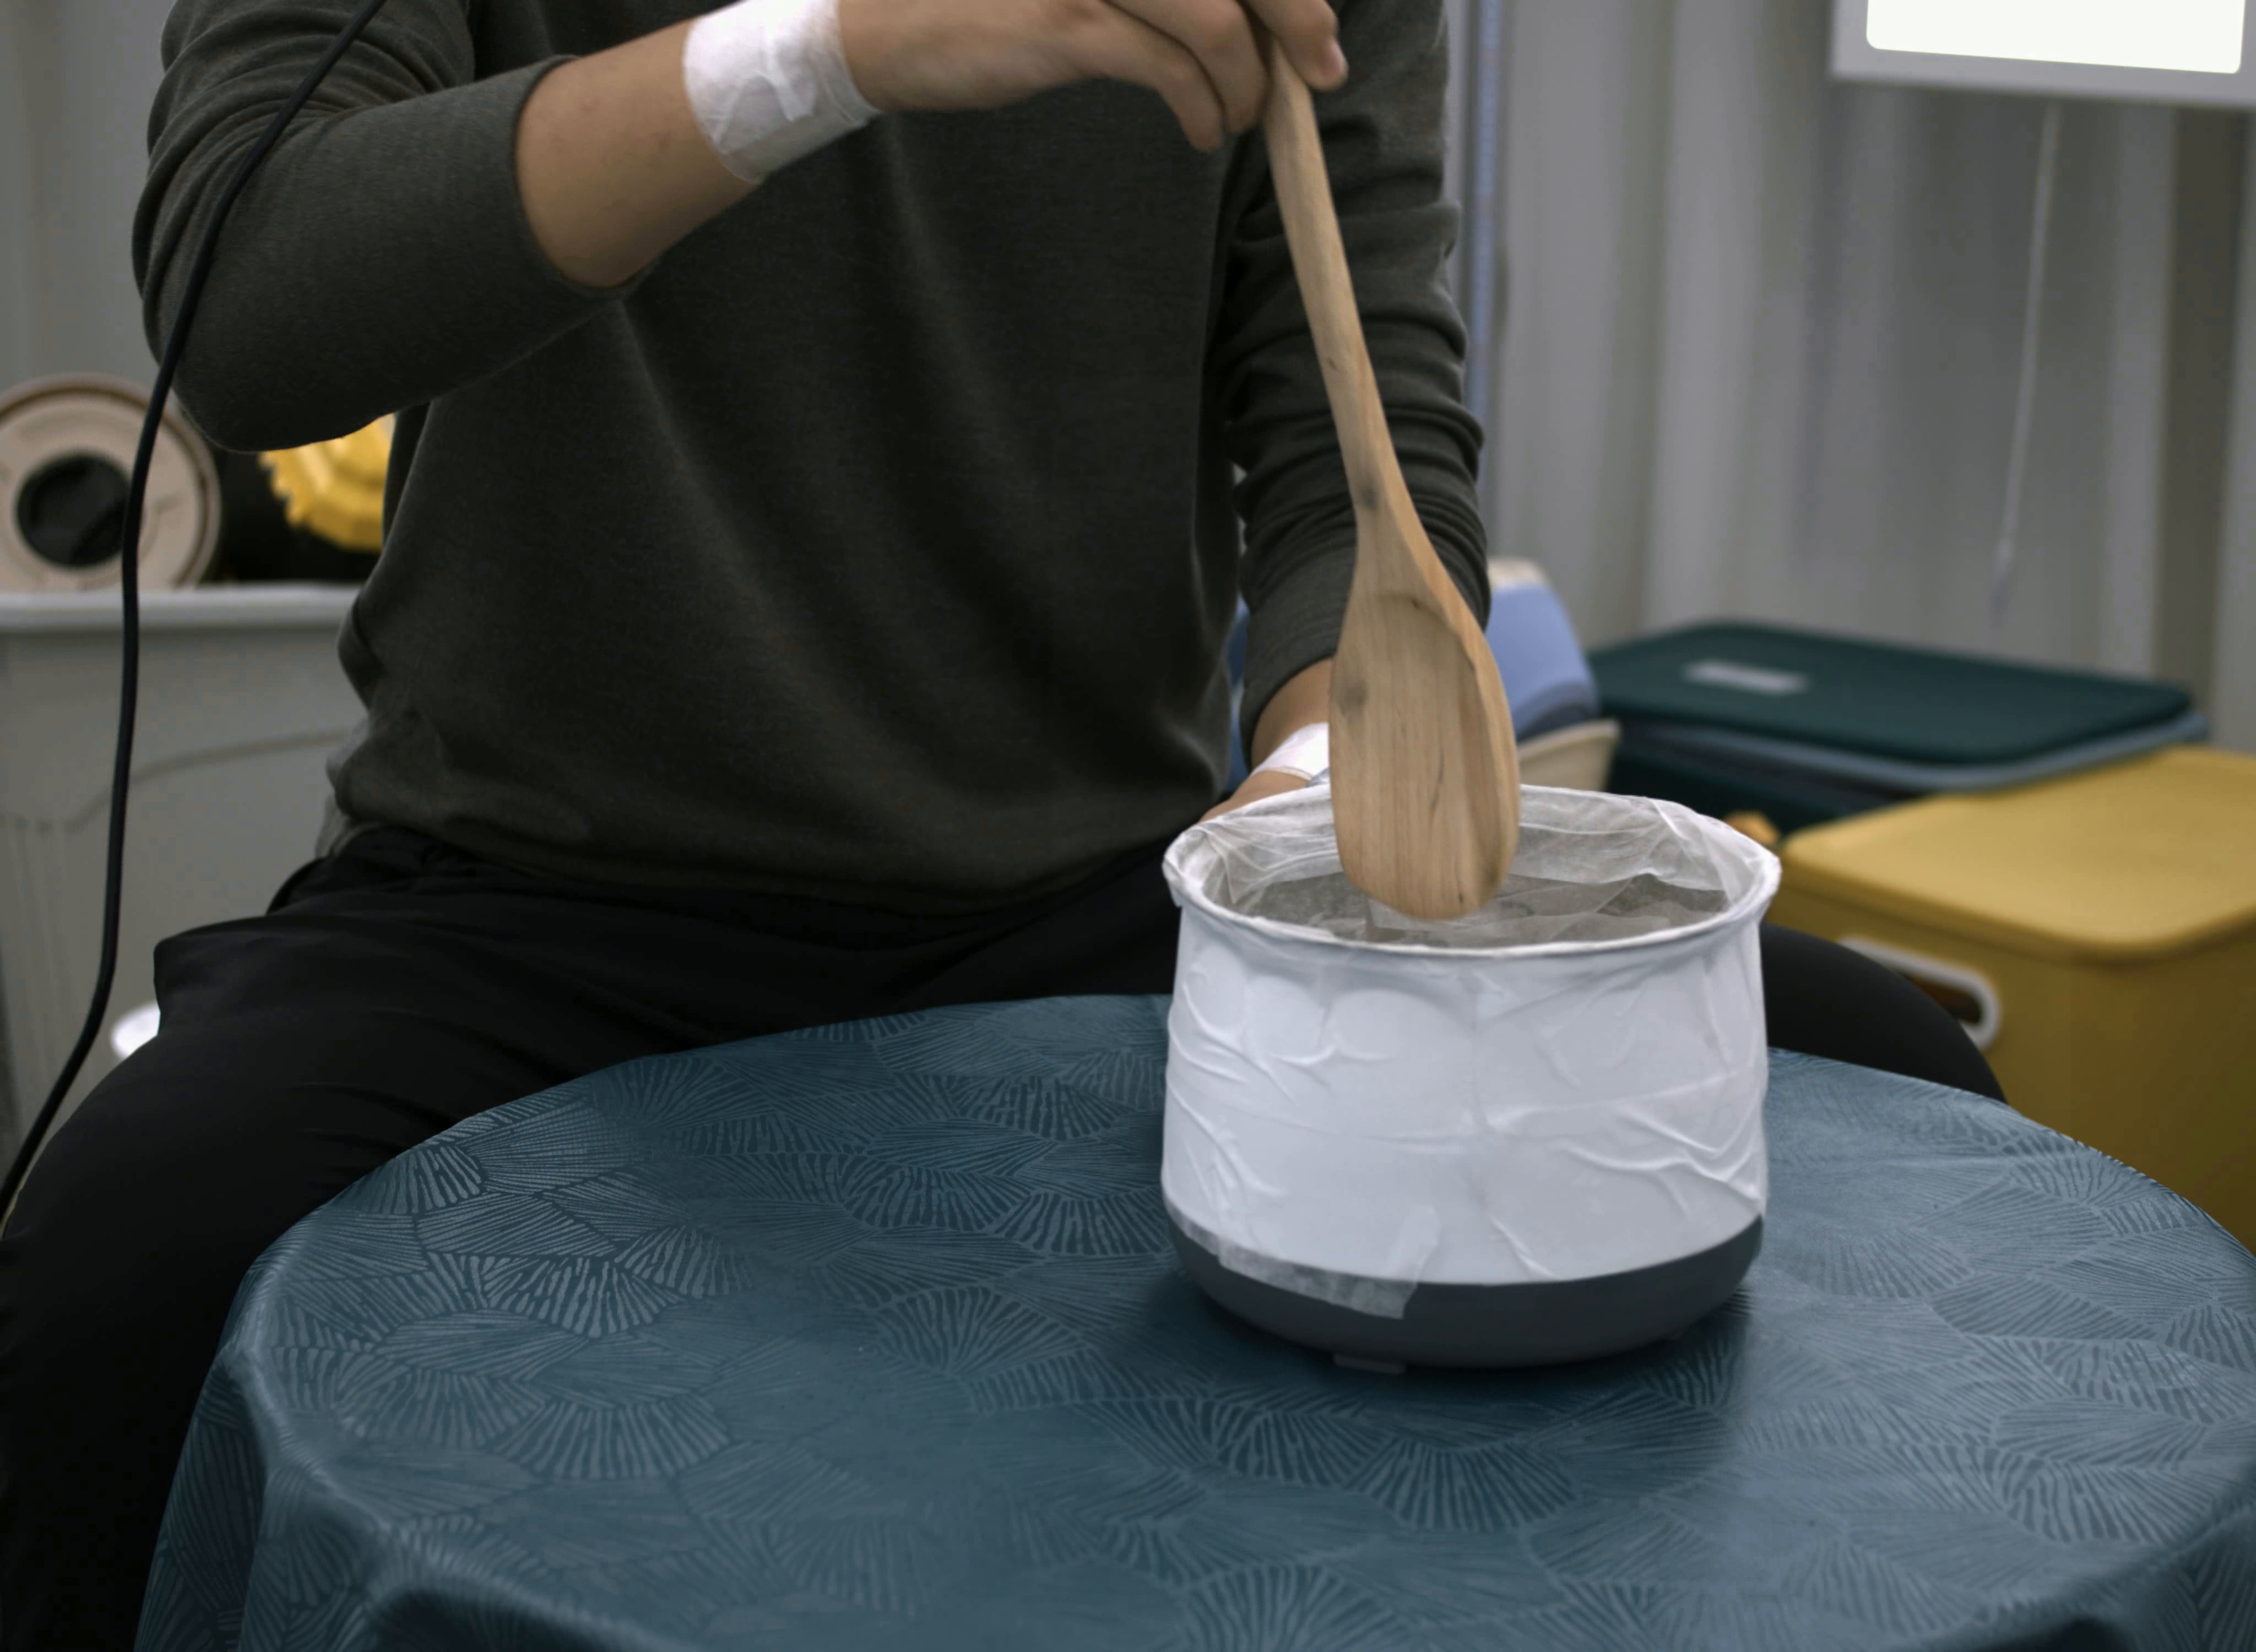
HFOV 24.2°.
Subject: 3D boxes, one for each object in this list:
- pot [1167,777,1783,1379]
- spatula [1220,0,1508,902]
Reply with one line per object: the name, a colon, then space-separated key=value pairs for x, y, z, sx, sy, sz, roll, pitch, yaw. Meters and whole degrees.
pot: x=0.090 y=0.066 z=1.545 sx=0.179 sy=0.138 sz=0.231 roll=-6 pitch=16 yaw=-20
spatula: x=0.047 y=-0.170 z=1.483 sx=0.018 sy=0.393 sz=0.095 roll=-17 pitch=7 yaw=-29
